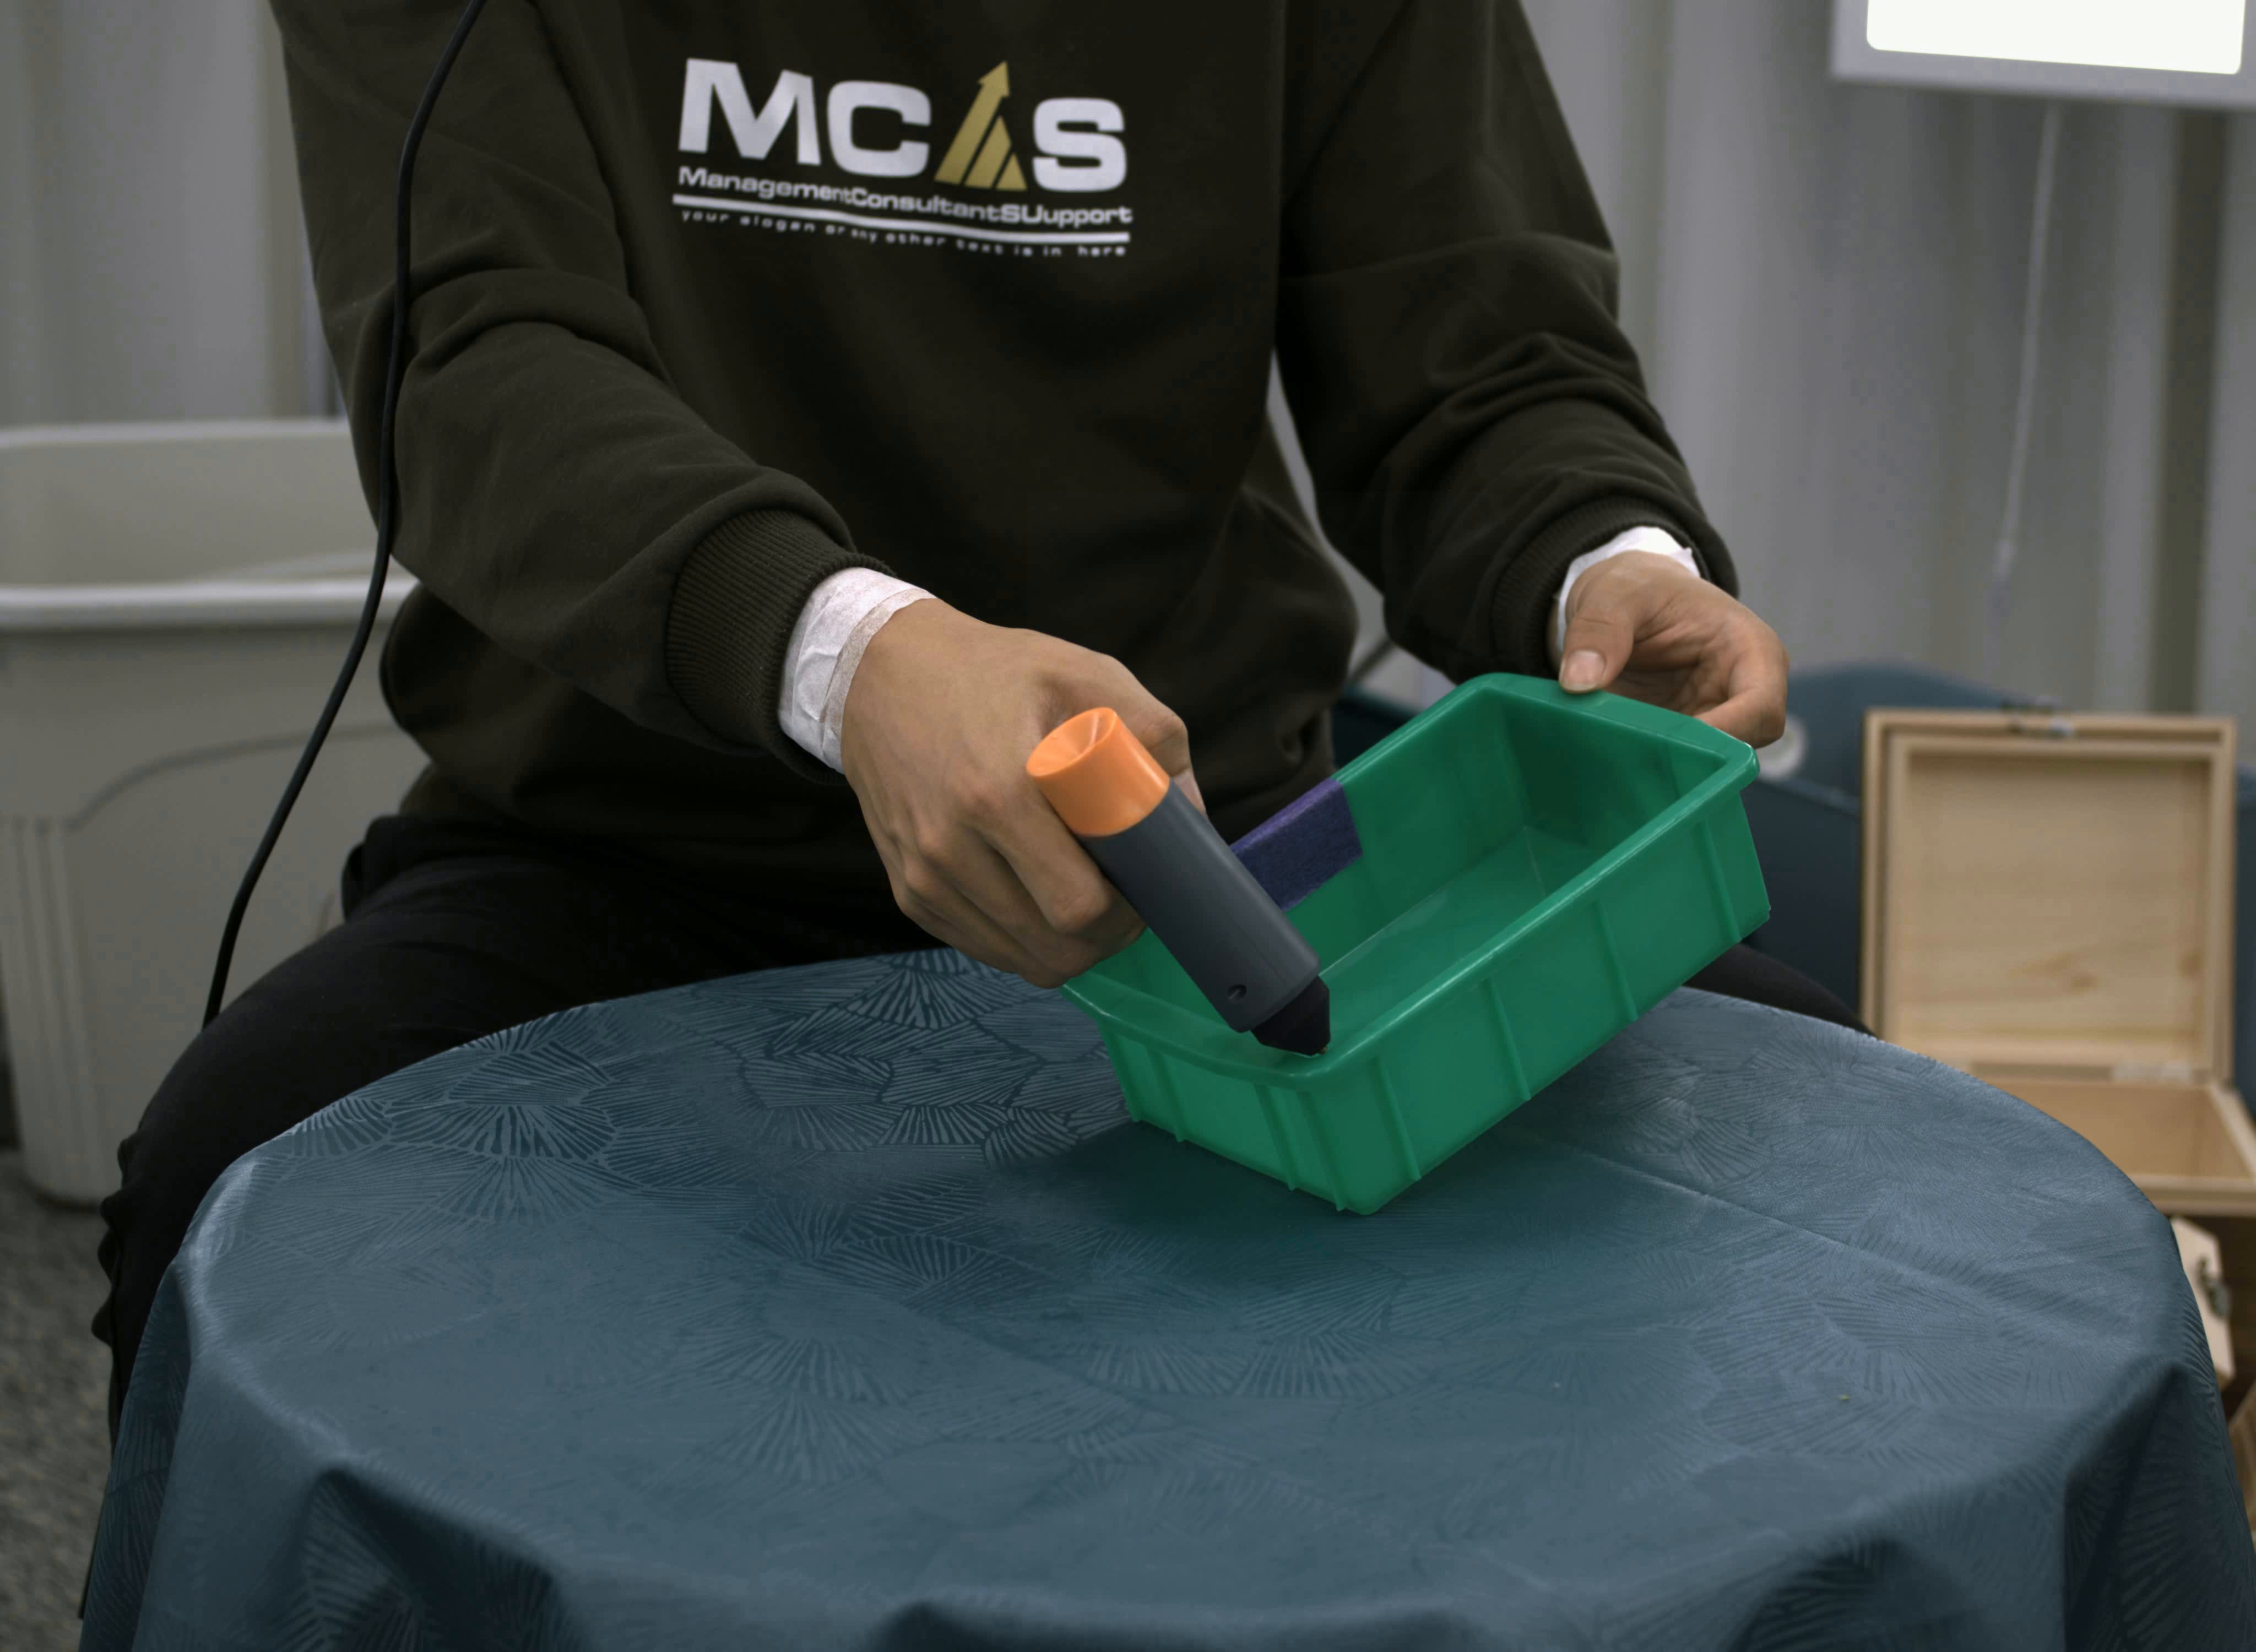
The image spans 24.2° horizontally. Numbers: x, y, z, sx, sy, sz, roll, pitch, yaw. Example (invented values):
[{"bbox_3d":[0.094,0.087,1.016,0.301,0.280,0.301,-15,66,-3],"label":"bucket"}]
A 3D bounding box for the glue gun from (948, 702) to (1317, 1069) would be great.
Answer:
[{"bbox_3d":[0.002,0.014,1.609,0.041,0.119,0.138,-36,23,-15],"label":"glue gun"}]

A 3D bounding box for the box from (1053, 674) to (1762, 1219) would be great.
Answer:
[{"bbox_3d":[0.094,0.038,1.675,0.210,0.066,0.137,-36,32,-27],"label":"box"}]
